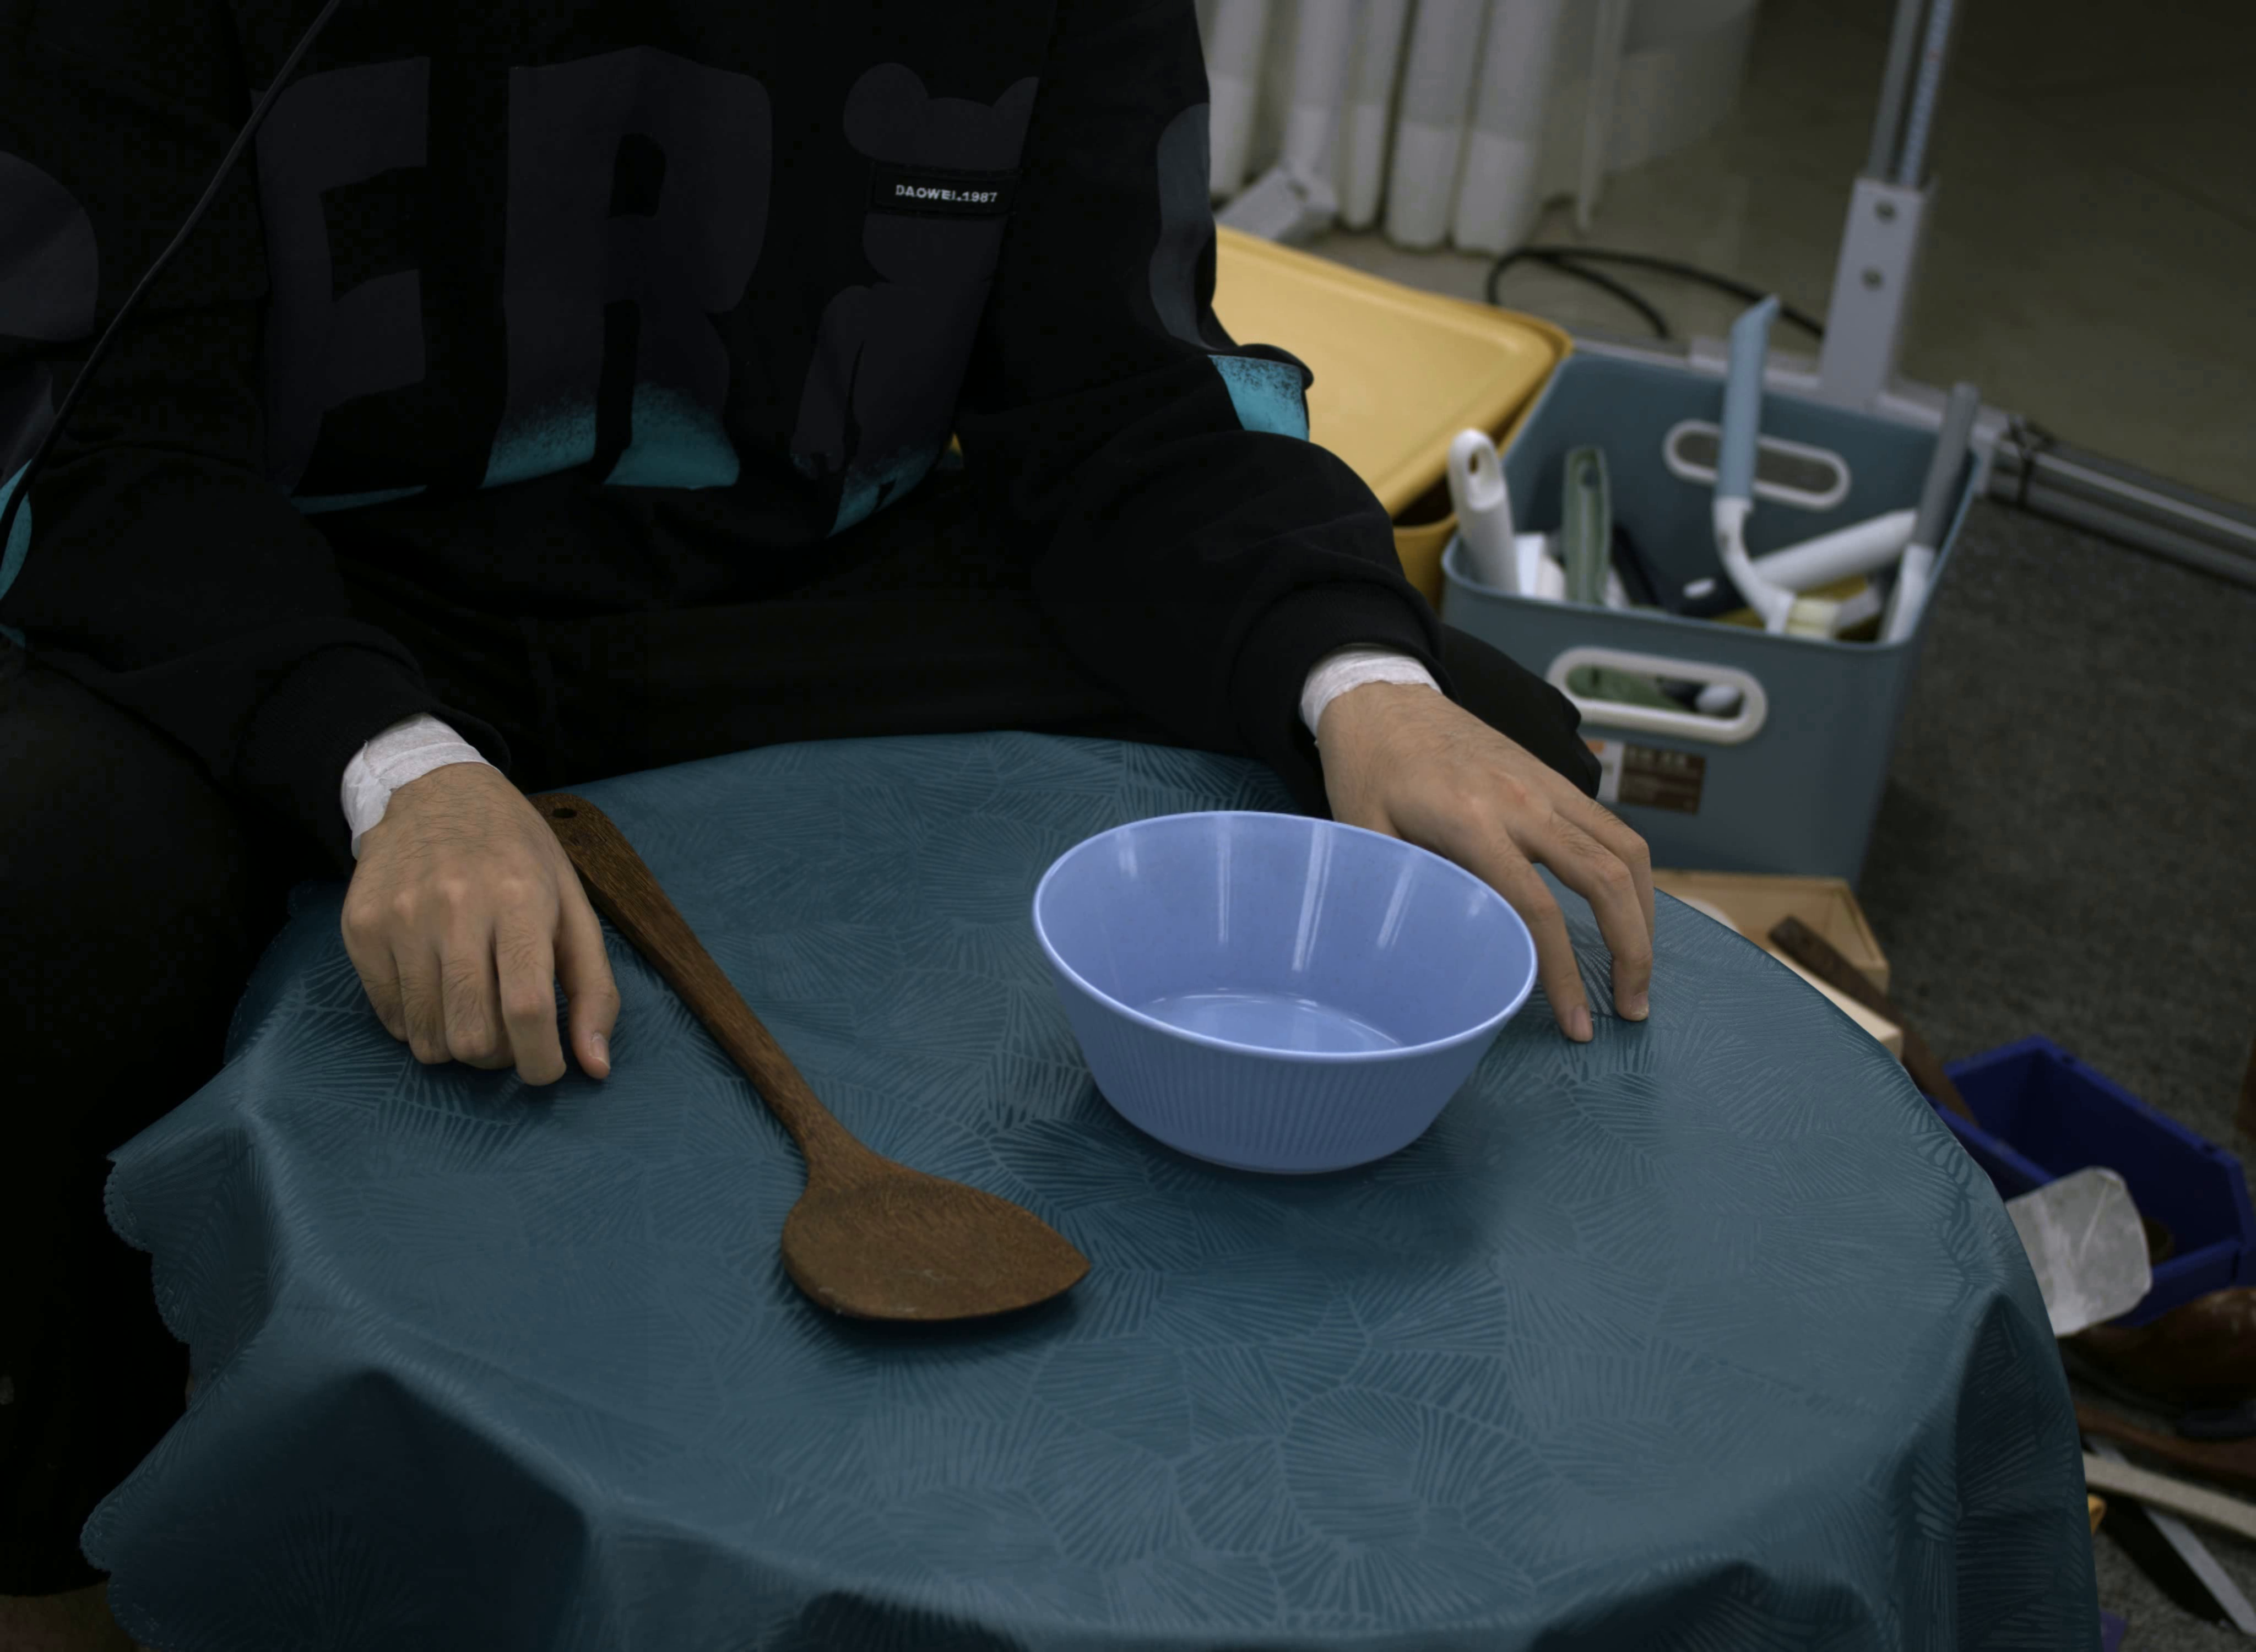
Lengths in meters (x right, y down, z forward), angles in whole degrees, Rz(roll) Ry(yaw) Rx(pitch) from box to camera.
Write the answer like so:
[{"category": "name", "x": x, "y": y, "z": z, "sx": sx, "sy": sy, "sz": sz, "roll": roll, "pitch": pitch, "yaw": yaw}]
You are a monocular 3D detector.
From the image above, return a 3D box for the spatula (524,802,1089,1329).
[{"category": "spatula", "x": -0.133, "y": 0.075, "z": 1.852, "sx": 0.095, "sy": 0.016, "sz": 0.389, "roll": -7, "pitch": 29, "yaw": -26}]

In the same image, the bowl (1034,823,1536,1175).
[{"category": "bowl", "x": 0.051, "y": 0.066, "z": 1.850, "sx": 0.175, "sy": 0.070, "sz": 0.177, "roll": 5, "pitch": 25, "yaw": -3}]
